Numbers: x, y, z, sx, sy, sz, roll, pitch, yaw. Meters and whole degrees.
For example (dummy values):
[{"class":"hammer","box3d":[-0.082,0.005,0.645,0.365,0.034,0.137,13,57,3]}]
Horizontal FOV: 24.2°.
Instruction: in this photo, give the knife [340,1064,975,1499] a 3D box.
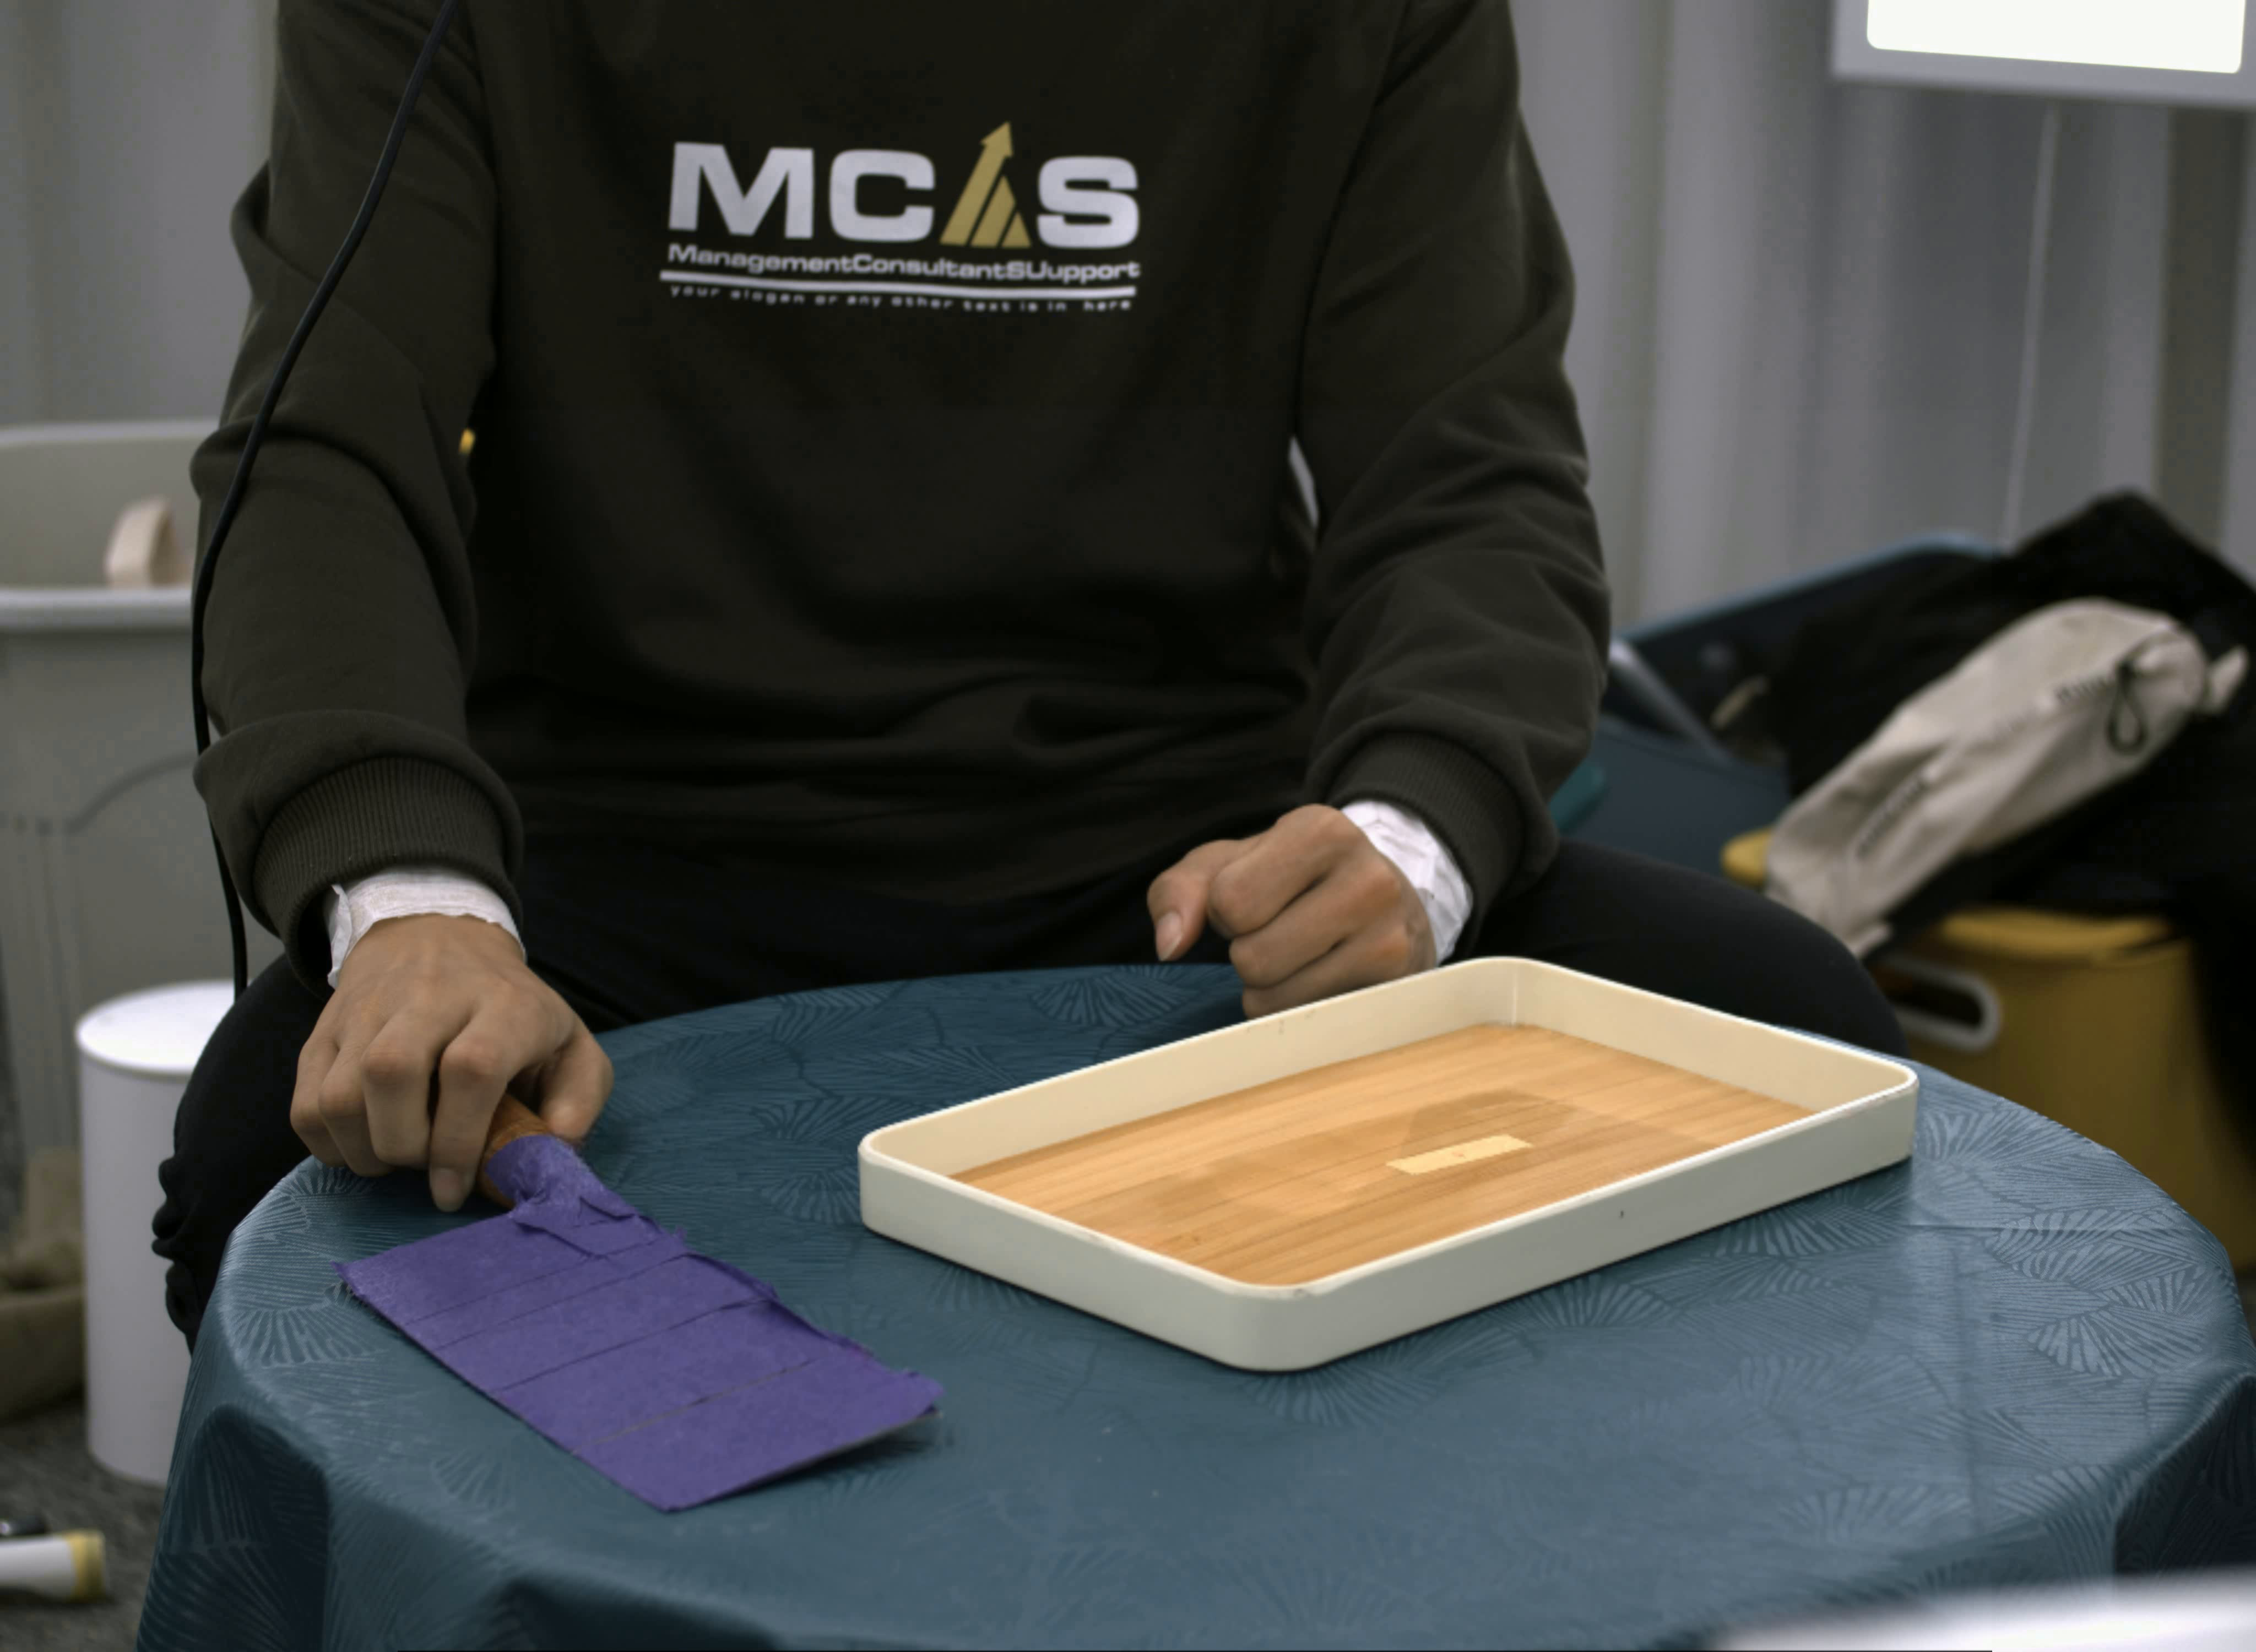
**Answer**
[{"class":"knife","box3d":[-0.168,0.127,1.516,0.104,0.032,0.311,-15,20,-31]}]

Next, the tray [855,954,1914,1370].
[{"class":"tray","box3d":[0.083,0.099,1.627,0.302,0.027,0.189,-14,21,-42]}]
